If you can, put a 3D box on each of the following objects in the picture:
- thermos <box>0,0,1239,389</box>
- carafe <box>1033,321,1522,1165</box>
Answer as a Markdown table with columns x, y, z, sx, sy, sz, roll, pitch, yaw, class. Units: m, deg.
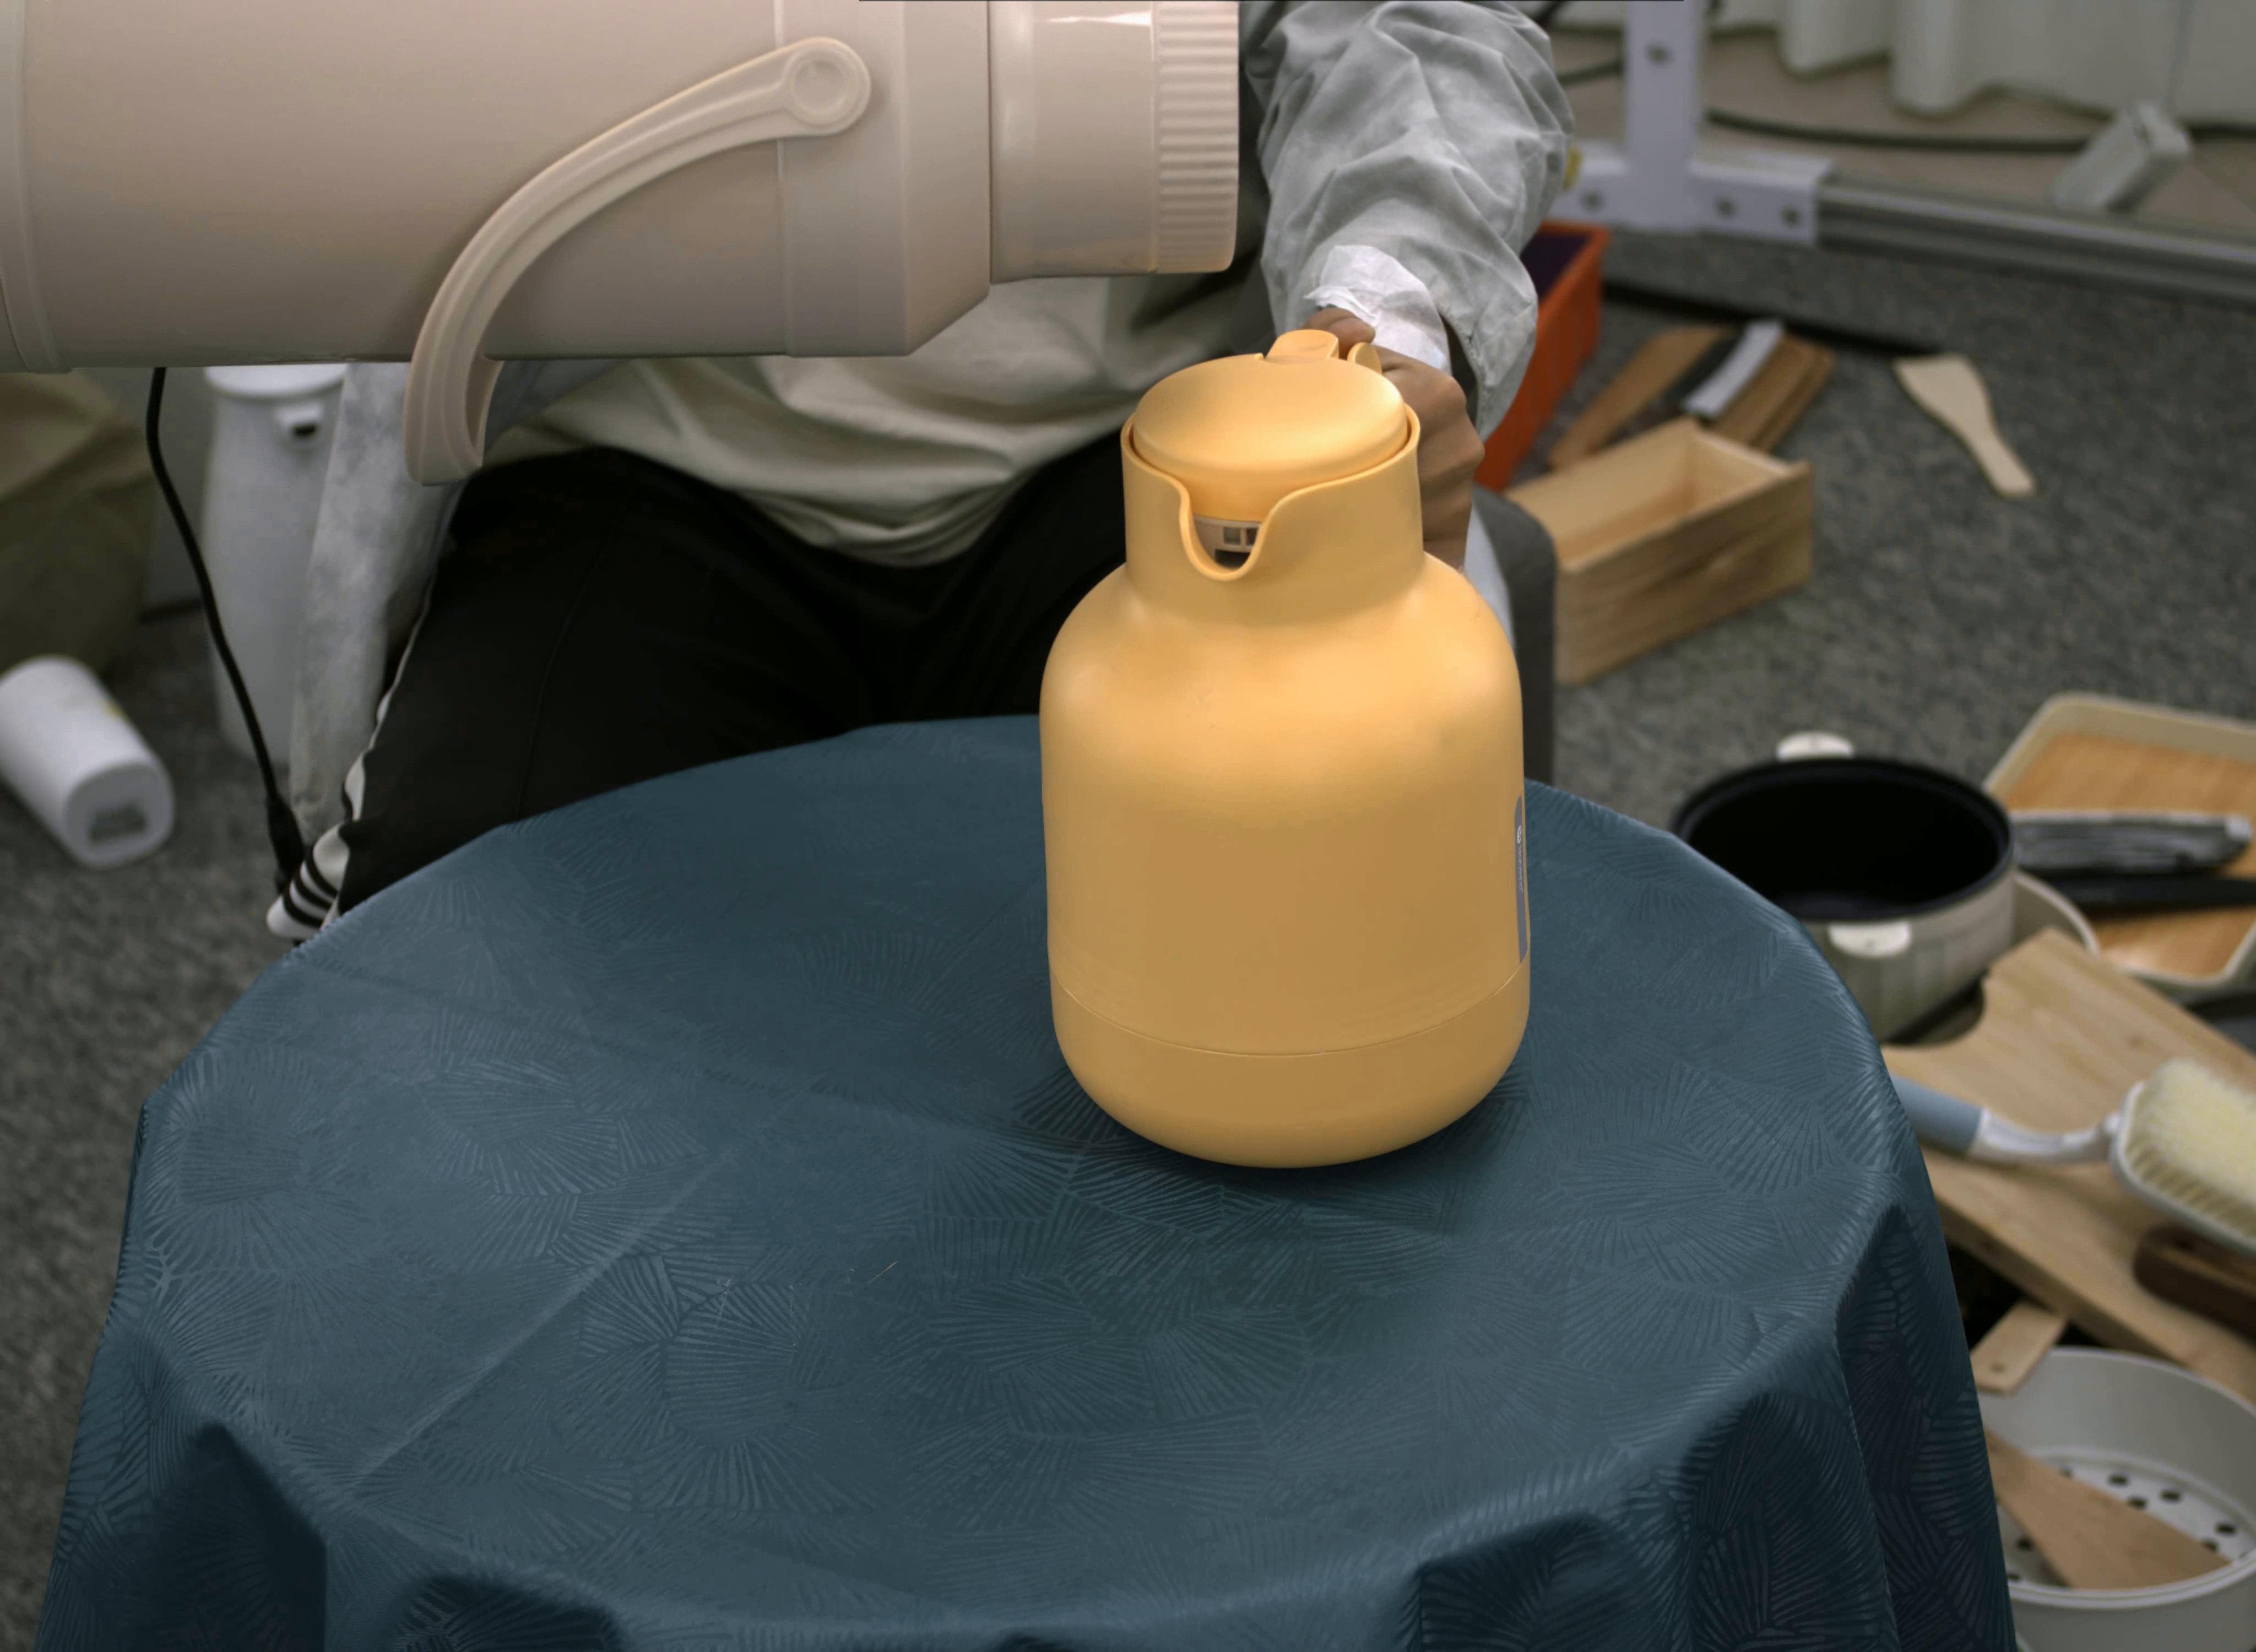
| x | y | z | sx | sy | sz | roll | pitch | yaw | class |
| --- | --- | --- | --- | --- | --- | --- | --- | --- | --- |
| -0.169 | -0.241 | 1.773 | 0.404 | 0.208 | 0.175 | -1 | 1 | -2 | thermos |
| 0.055 | -0.037 | 1.880 | 0.162 | 0.257 | 0.206 | 7 | 29 | 14 | carafe |
